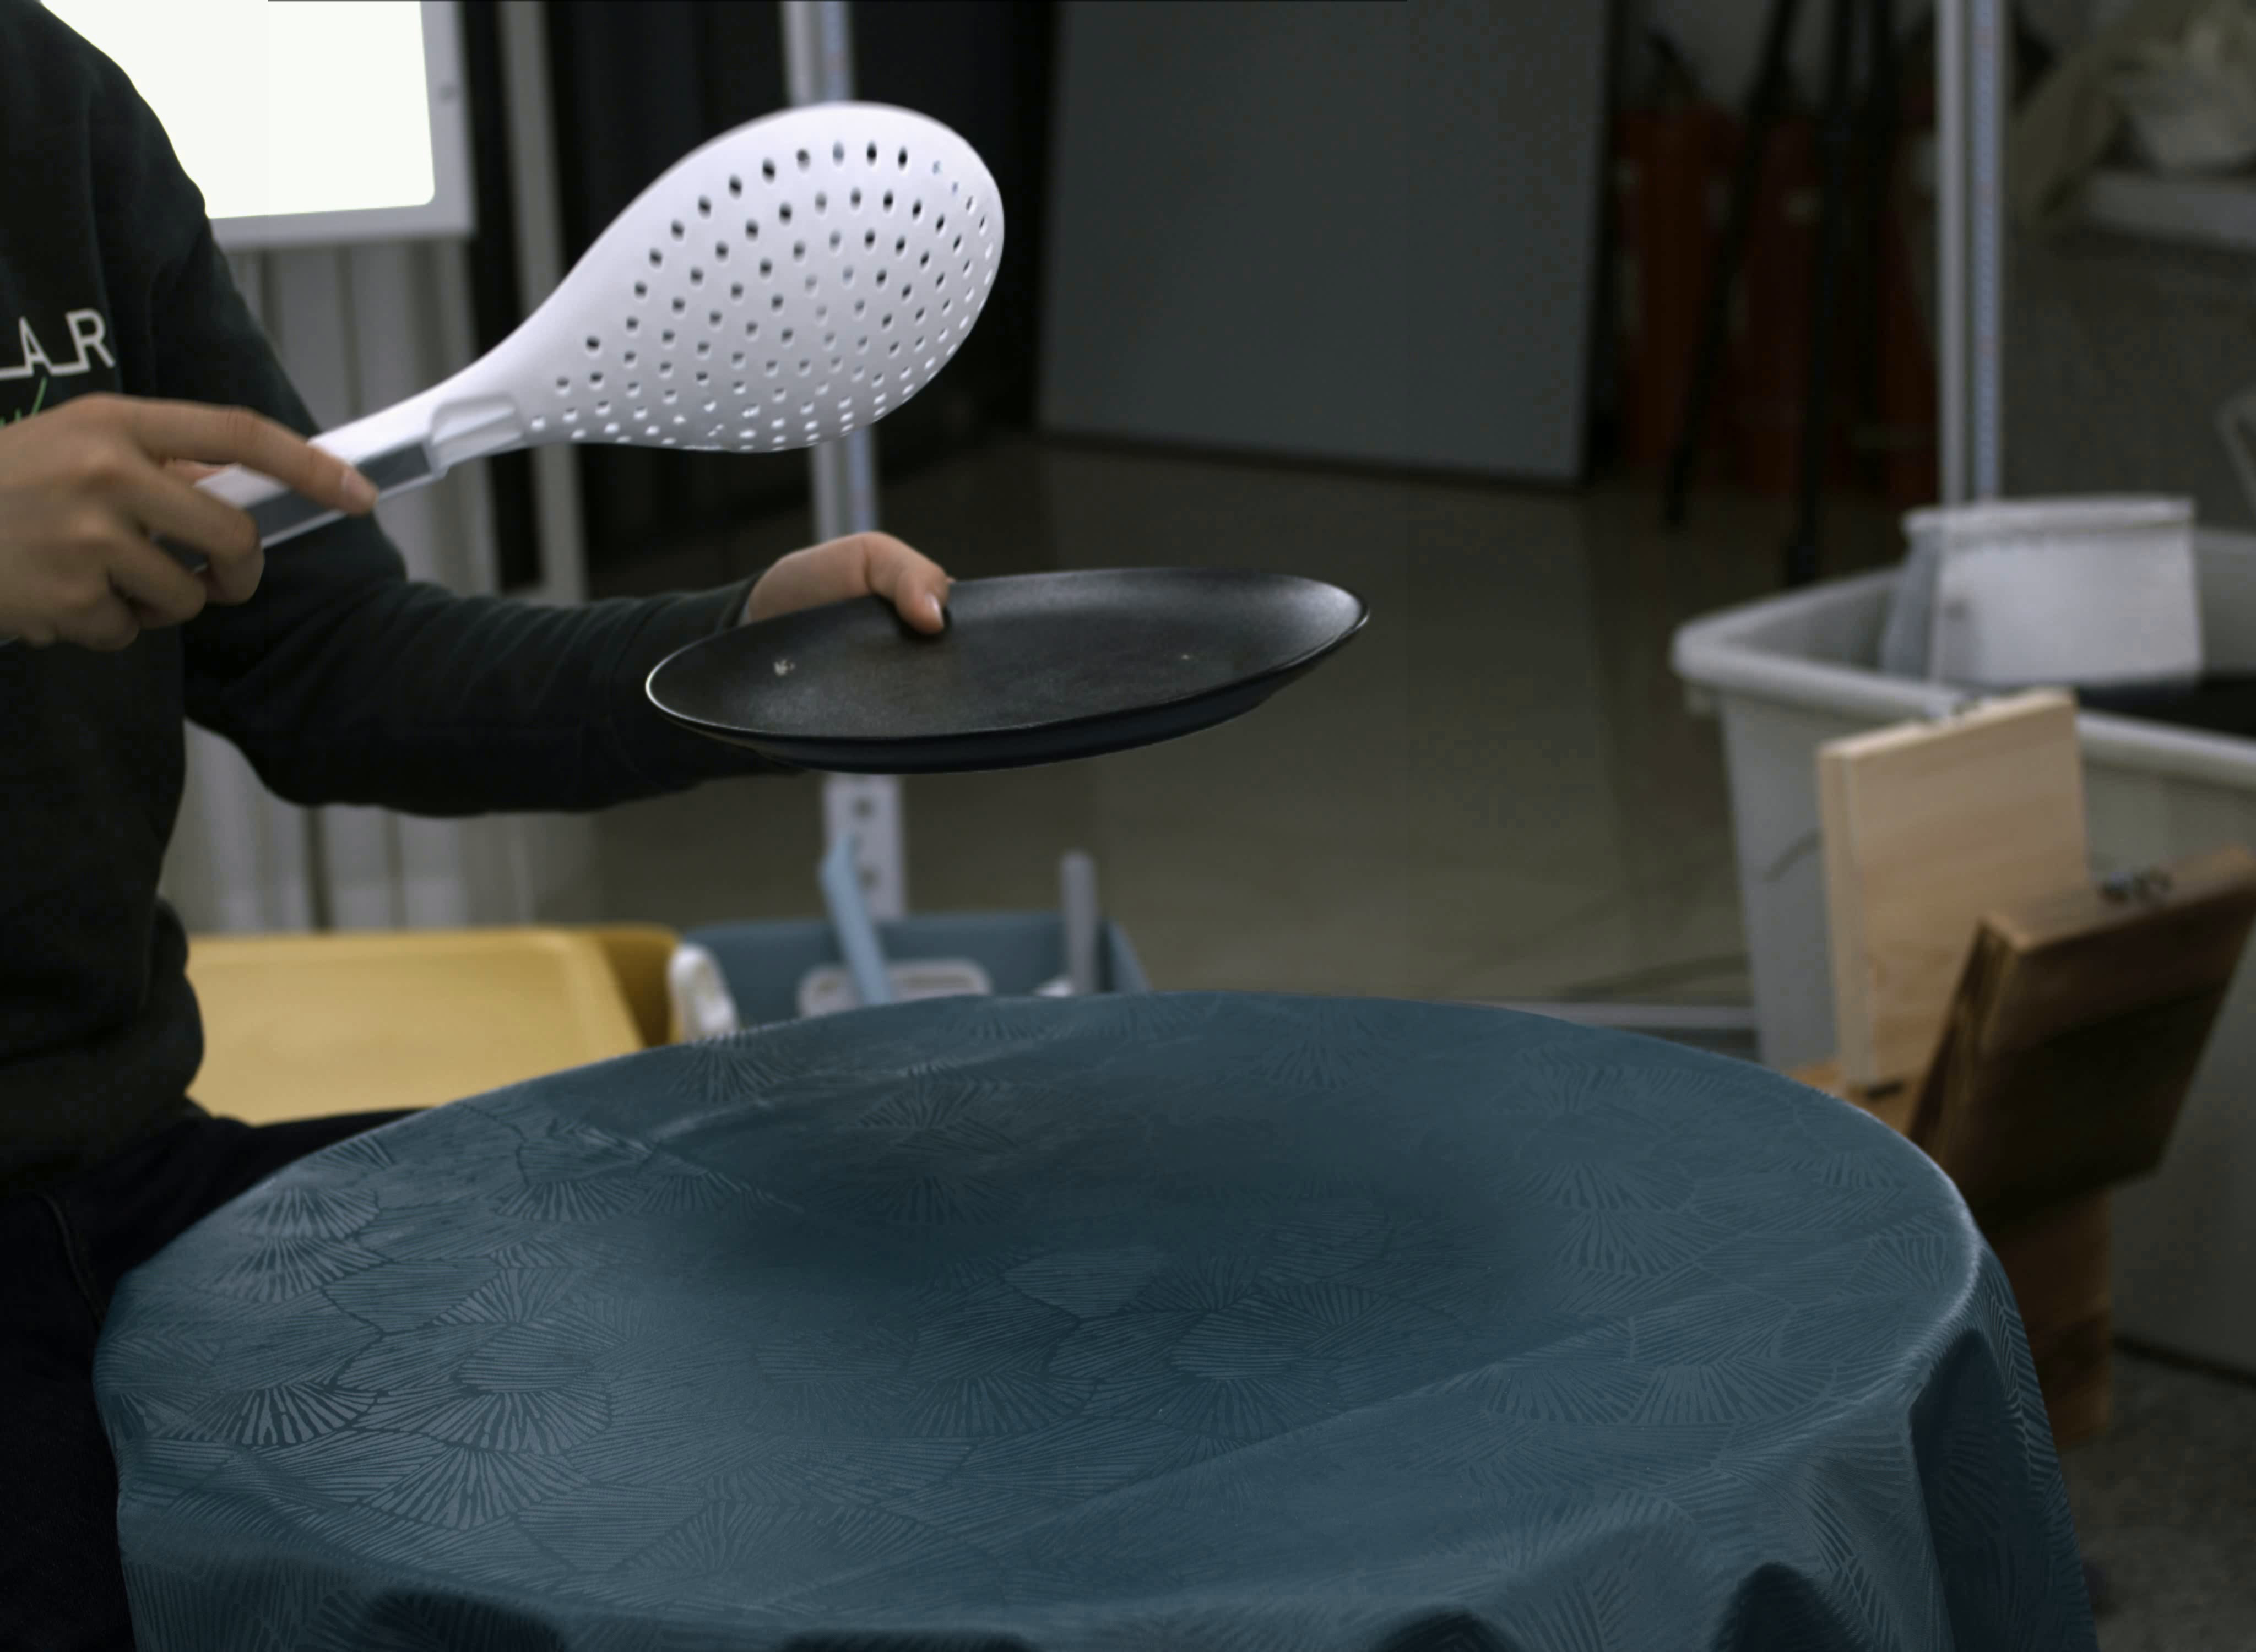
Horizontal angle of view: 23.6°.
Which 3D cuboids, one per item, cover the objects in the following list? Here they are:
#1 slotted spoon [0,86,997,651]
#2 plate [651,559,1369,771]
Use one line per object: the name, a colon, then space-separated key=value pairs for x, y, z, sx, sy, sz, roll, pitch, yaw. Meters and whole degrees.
slotted spoon: x=-0.198 y=-0.123 z=1.621 sx=0.346 sy=0.136 sz=0.046 roll=-19 pitch=54 yaw=-1
plate: x=-0.038 y=-0.051 z=1.791 sx=0.241 sy=0.023 sz=0.245 roll=-7 pitch=14 yaw=1
